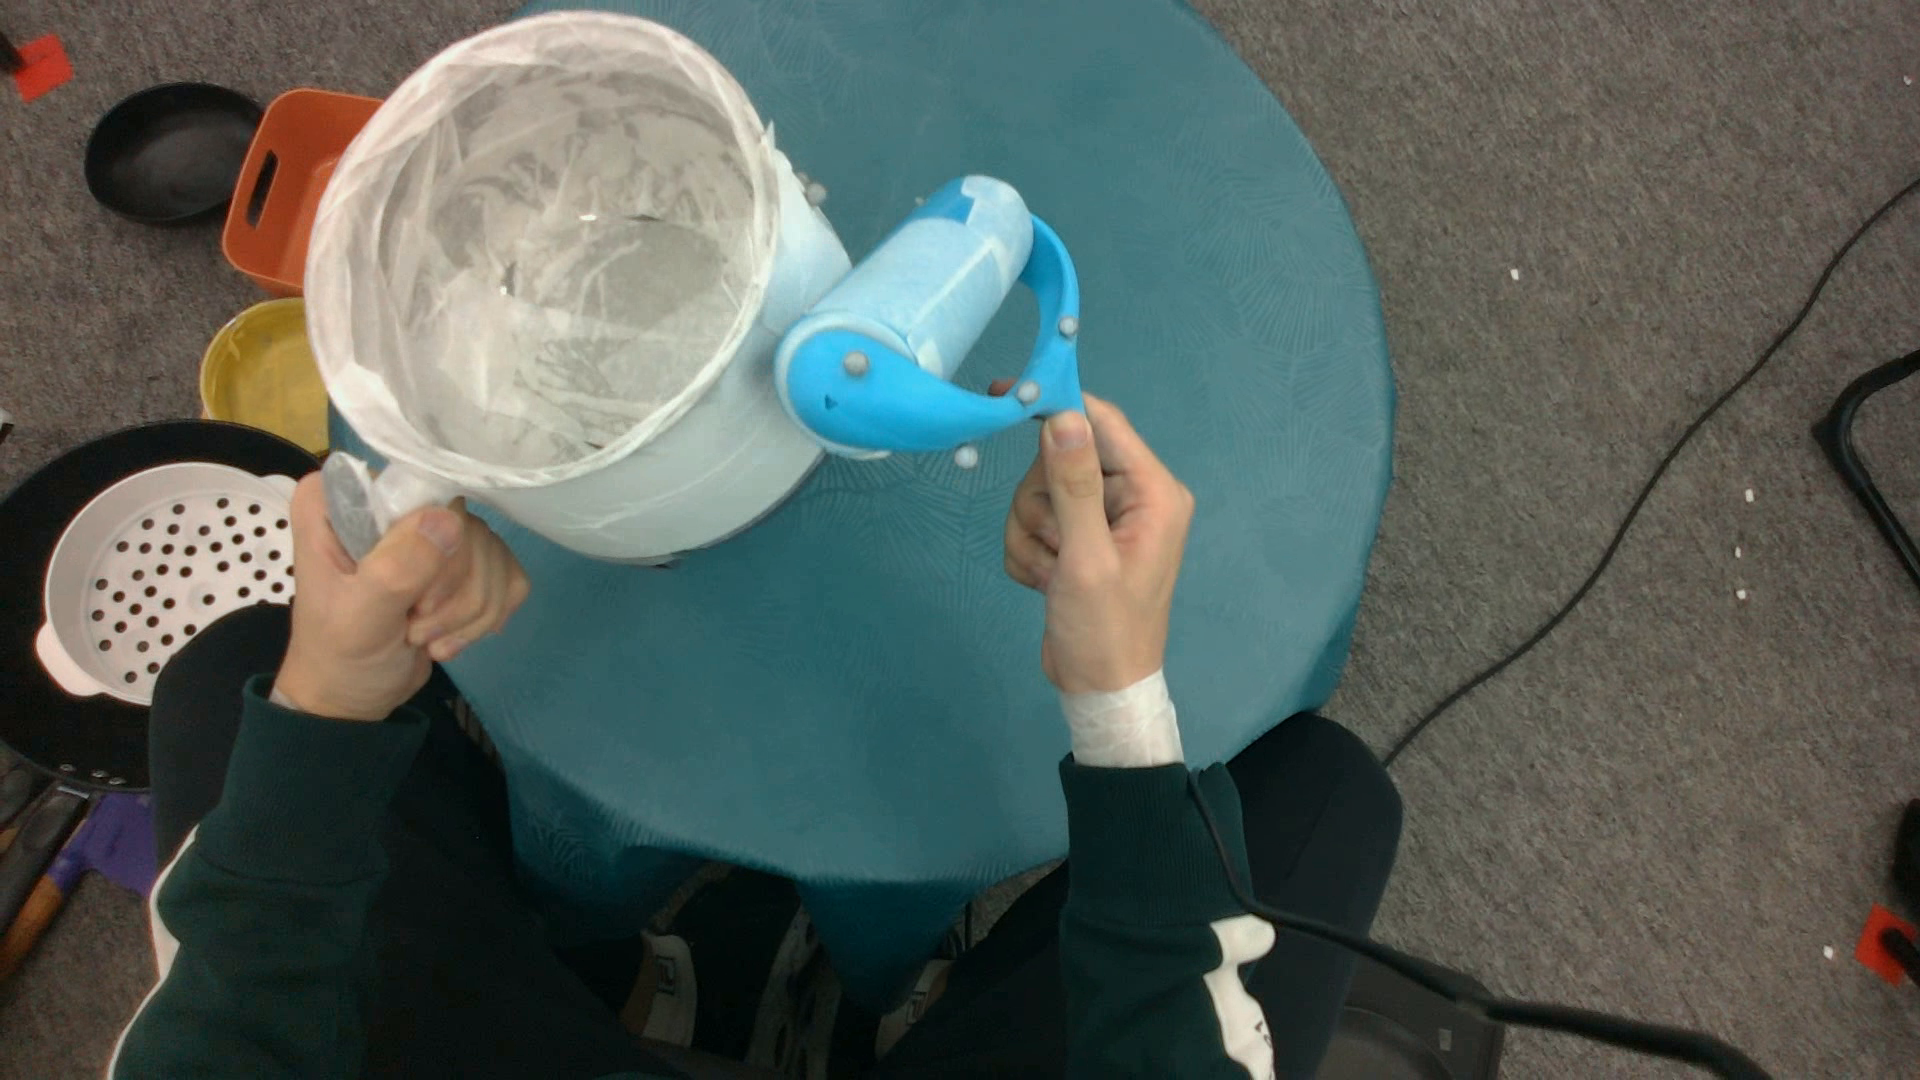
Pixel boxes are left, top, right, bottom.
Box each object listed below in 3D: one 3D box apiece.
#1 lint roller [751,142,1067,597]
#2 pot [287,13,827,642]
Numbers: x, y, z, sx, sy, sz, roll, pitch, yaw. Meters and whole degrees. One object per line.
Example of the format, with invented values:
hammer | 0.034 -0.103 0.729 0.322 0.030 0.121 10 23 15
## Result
lint roller | 0.007 -0.060 0.555 0.067 0.230 0.180 -28 113 22
pot | -0.157 -0.066 0.531 0.179 0.136 0.234 34 84 18
